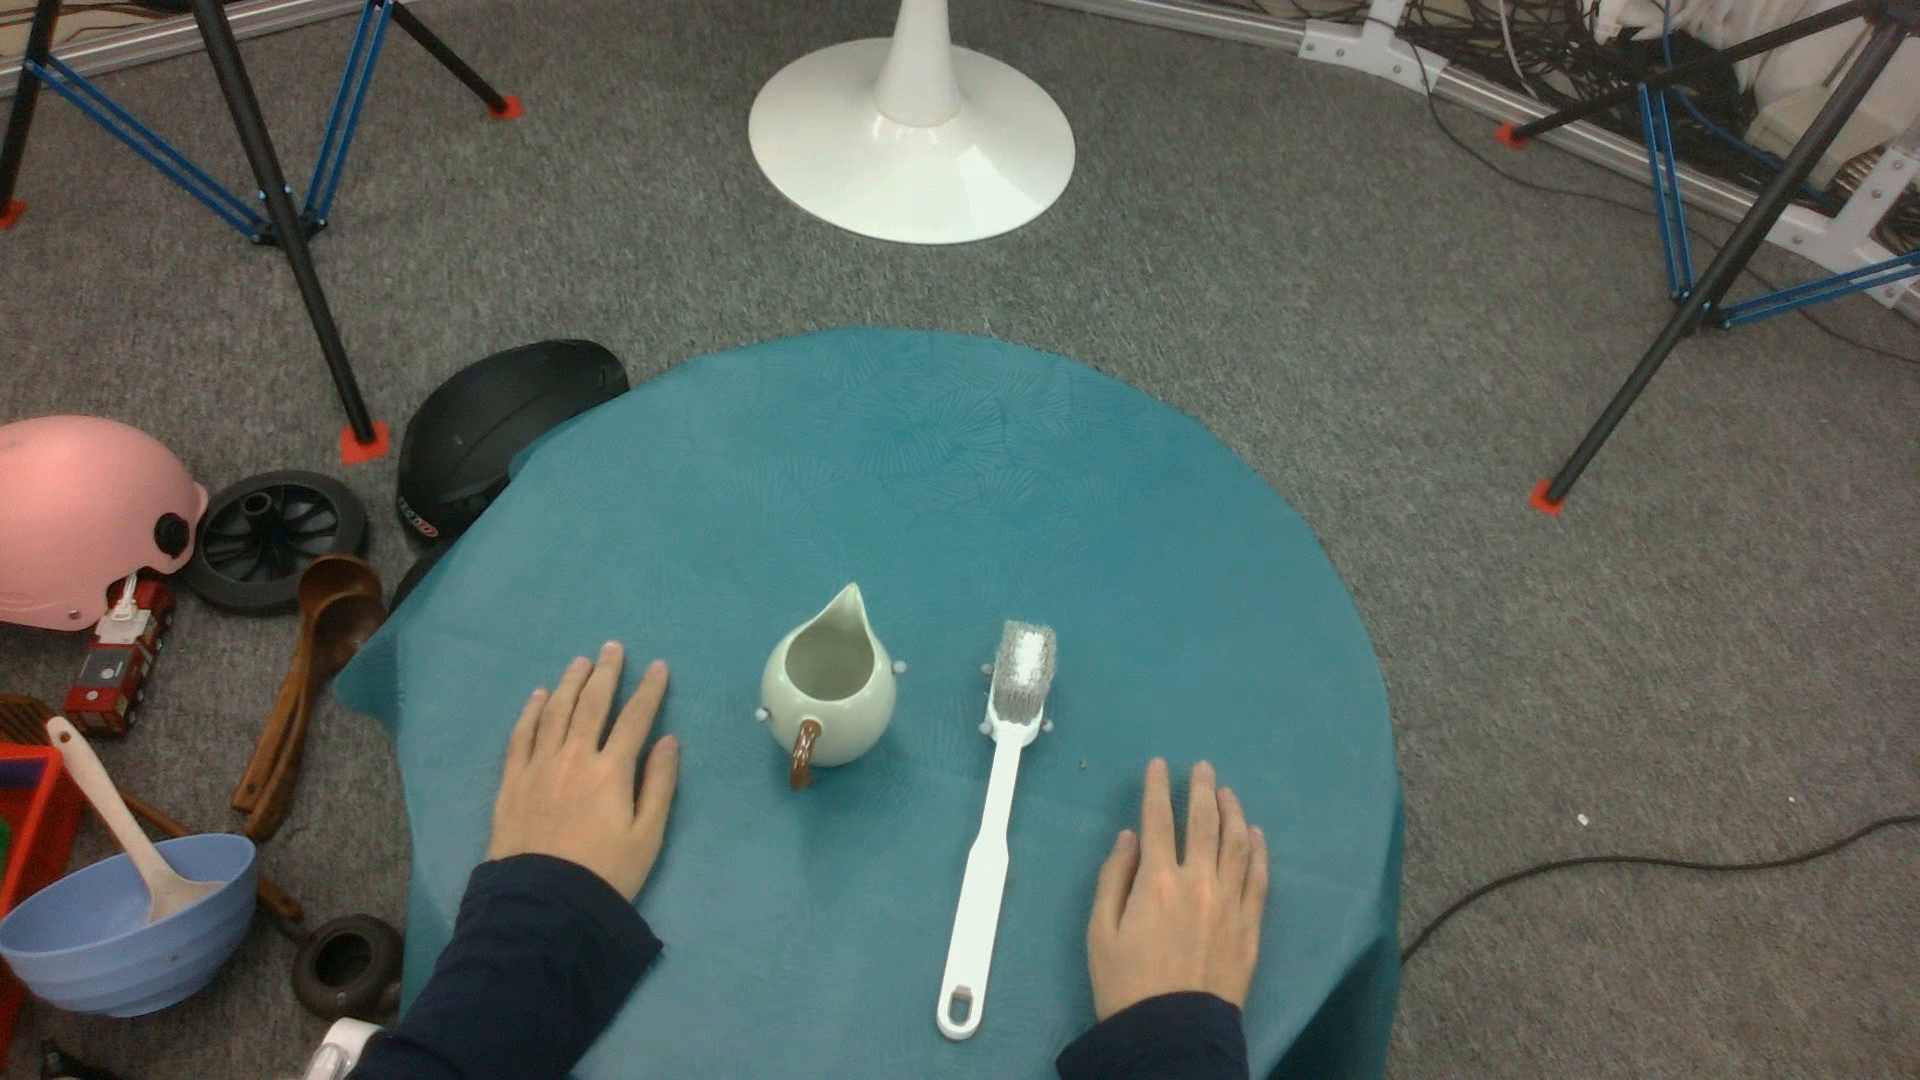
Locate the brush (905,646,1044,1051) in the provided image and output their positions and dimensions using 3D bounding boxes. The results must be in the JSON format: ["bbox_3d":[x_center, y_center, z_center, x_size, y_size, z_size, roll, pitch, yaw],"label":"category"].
[{"bbox_3d":[0.011,0.163,0.781,0.034,0.050,0.245,17,51,0],"label":"brush"}]

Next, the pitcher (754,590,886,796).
[{"bbox_3d":[-0.083,0.101,0.791,0.076,0.087,0.120,12,48,7],"label":"pitcher"}]
